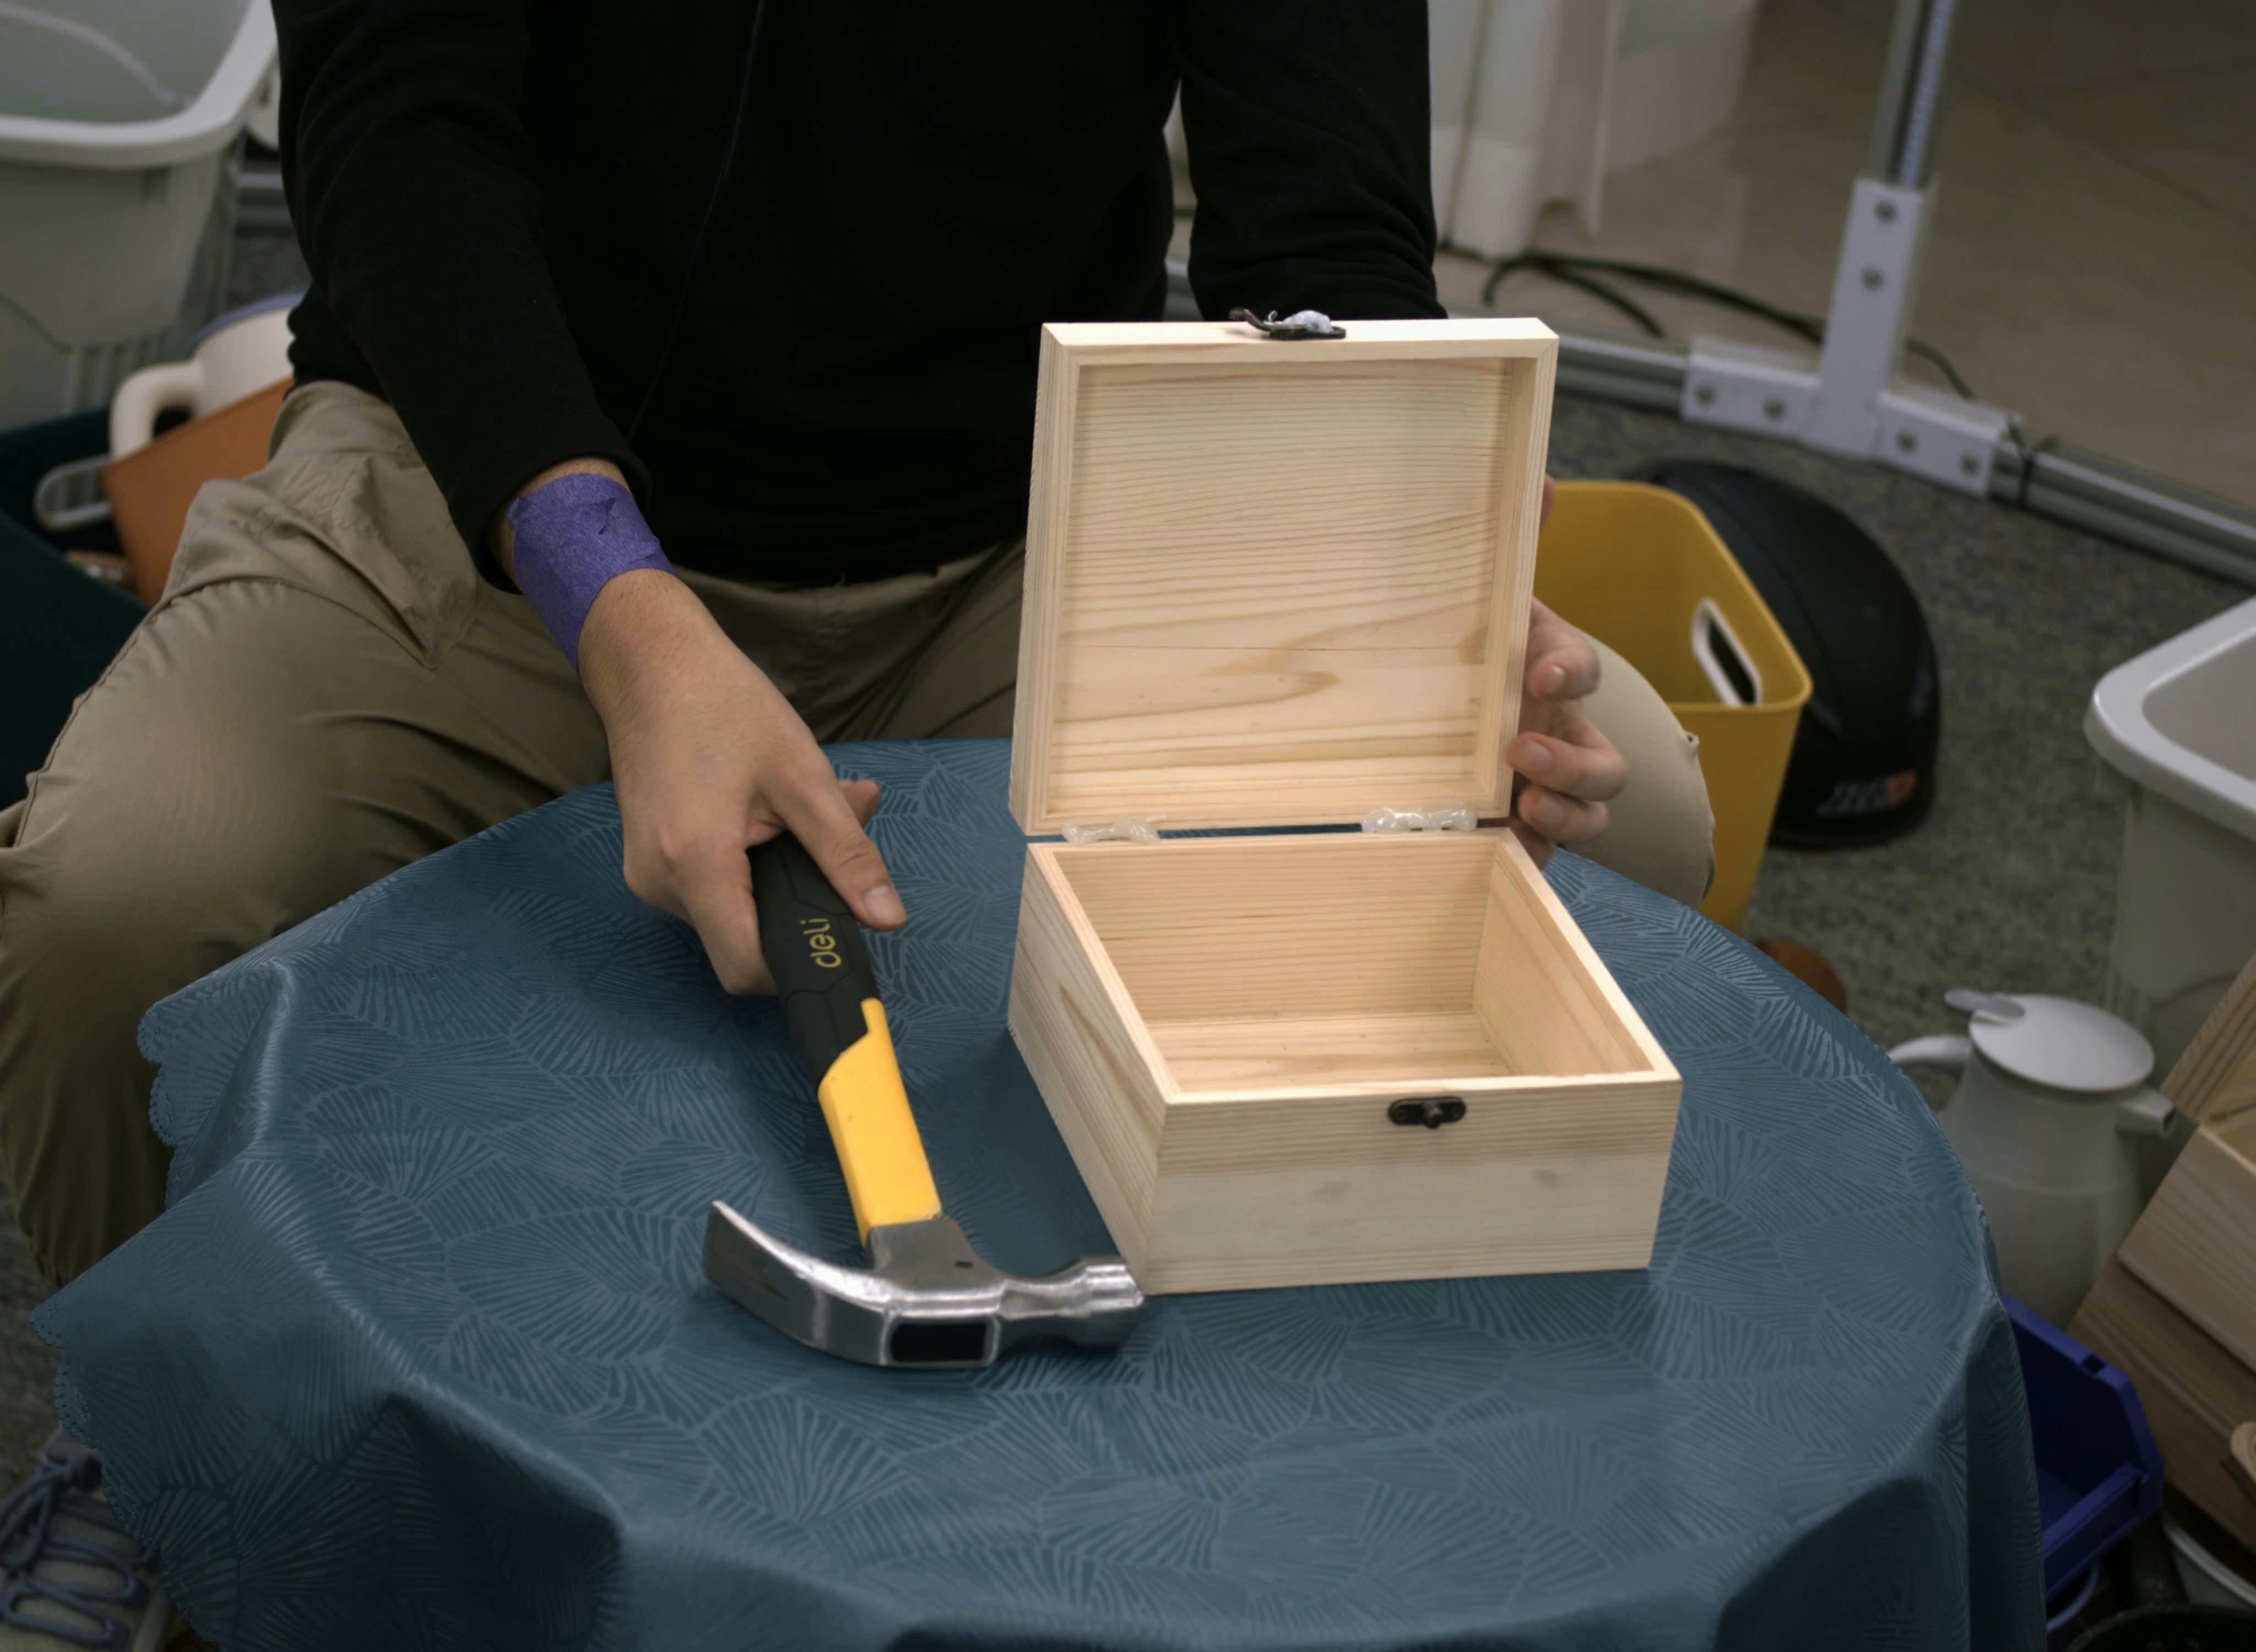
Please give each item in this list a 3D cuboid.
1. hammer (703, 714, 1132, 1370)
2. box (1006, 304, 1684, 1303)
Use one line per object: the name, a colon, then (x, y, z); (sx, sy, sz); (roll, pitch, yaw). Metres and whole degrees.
hammer: (-0.098, 0.065, 1.819); (0.130, 0.032, 0.341); (-2, 36, -14)
box: (0.070, -0.015, 1.820); (0.181, 0.252, 0.267); (-4, 29, -16)
